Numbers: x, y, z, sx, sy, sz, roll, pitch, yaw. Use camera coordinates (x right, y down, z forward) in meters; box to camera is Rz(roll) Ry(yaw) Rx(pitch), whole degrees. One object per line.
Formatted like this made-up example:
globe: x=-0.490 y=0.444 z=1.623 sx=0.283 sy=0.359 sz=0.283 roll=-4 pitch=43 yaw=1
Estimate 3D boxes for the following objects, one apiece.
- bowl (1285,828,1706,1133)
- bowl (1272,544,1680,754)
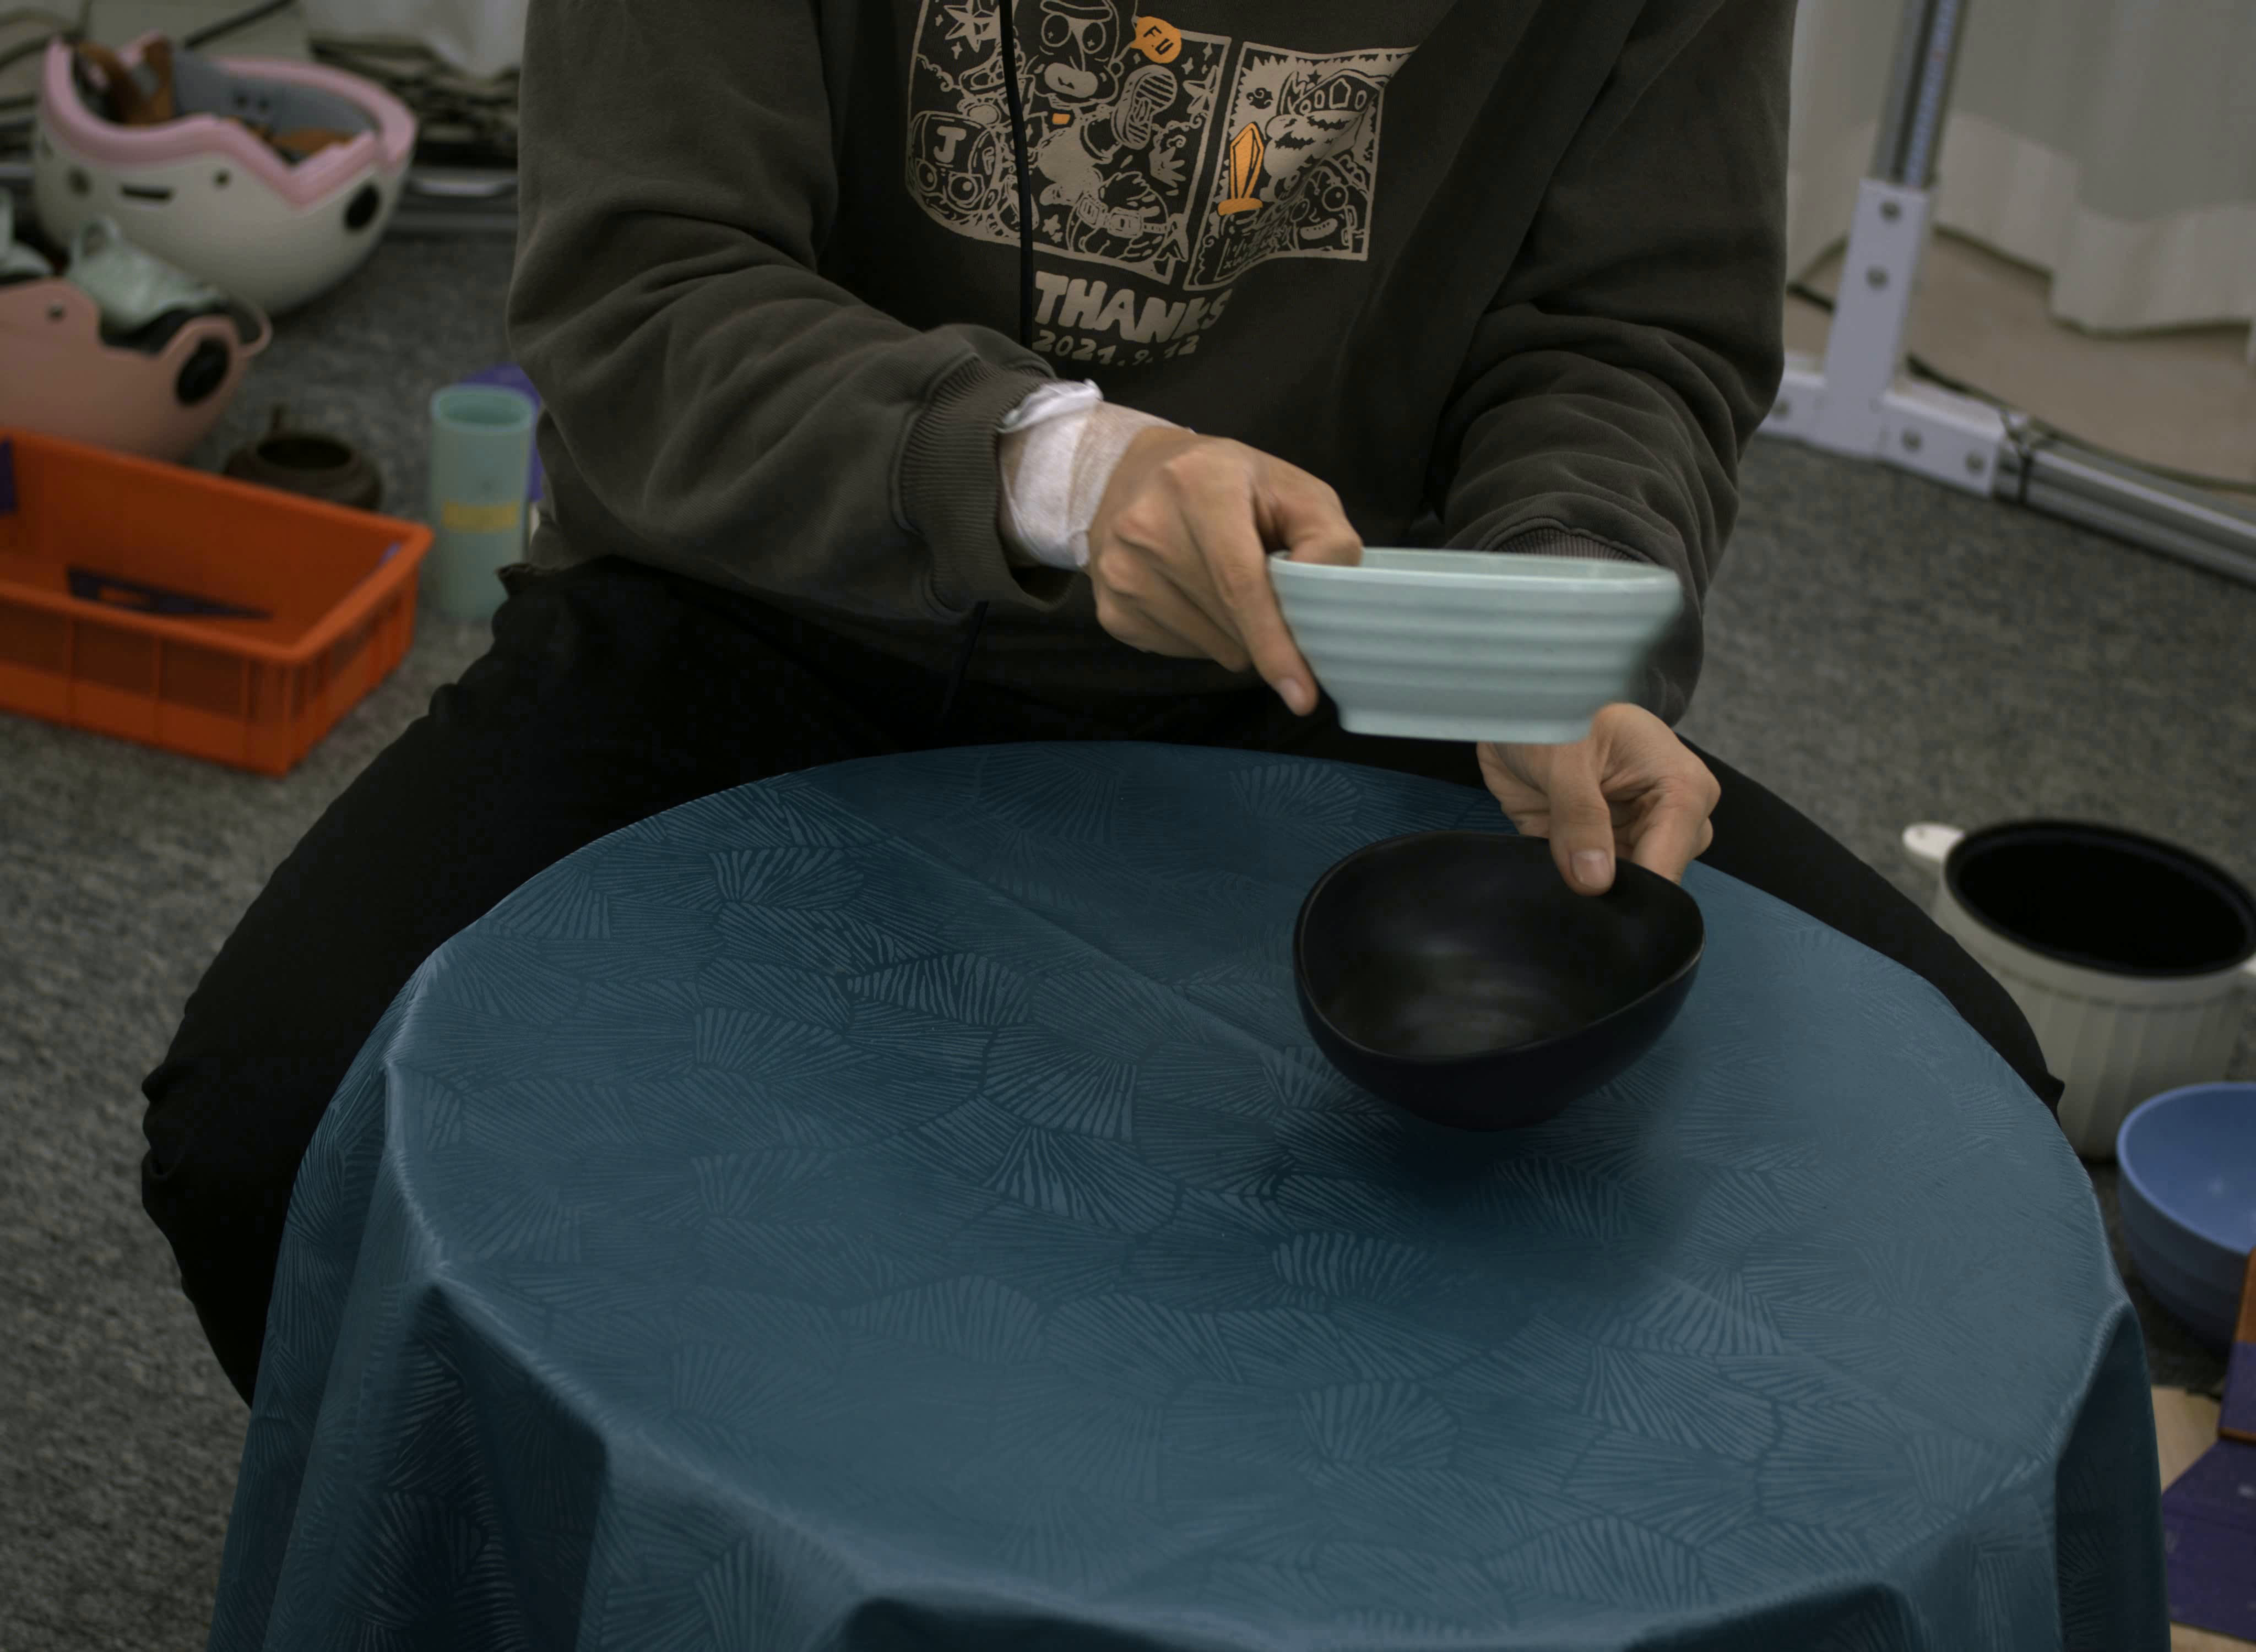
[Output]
bowl: x=0.125 y=0.063 z=1.844 sx=0.138 sy=0.066 sz=0.170 roll=17 pitch=29 yaw=26
bowl: x=0.116 y=-0.059 z=1.813 sx=0.151 sy=0.059 sz=0.151 roll=6 pitch=6 yaw=-1
